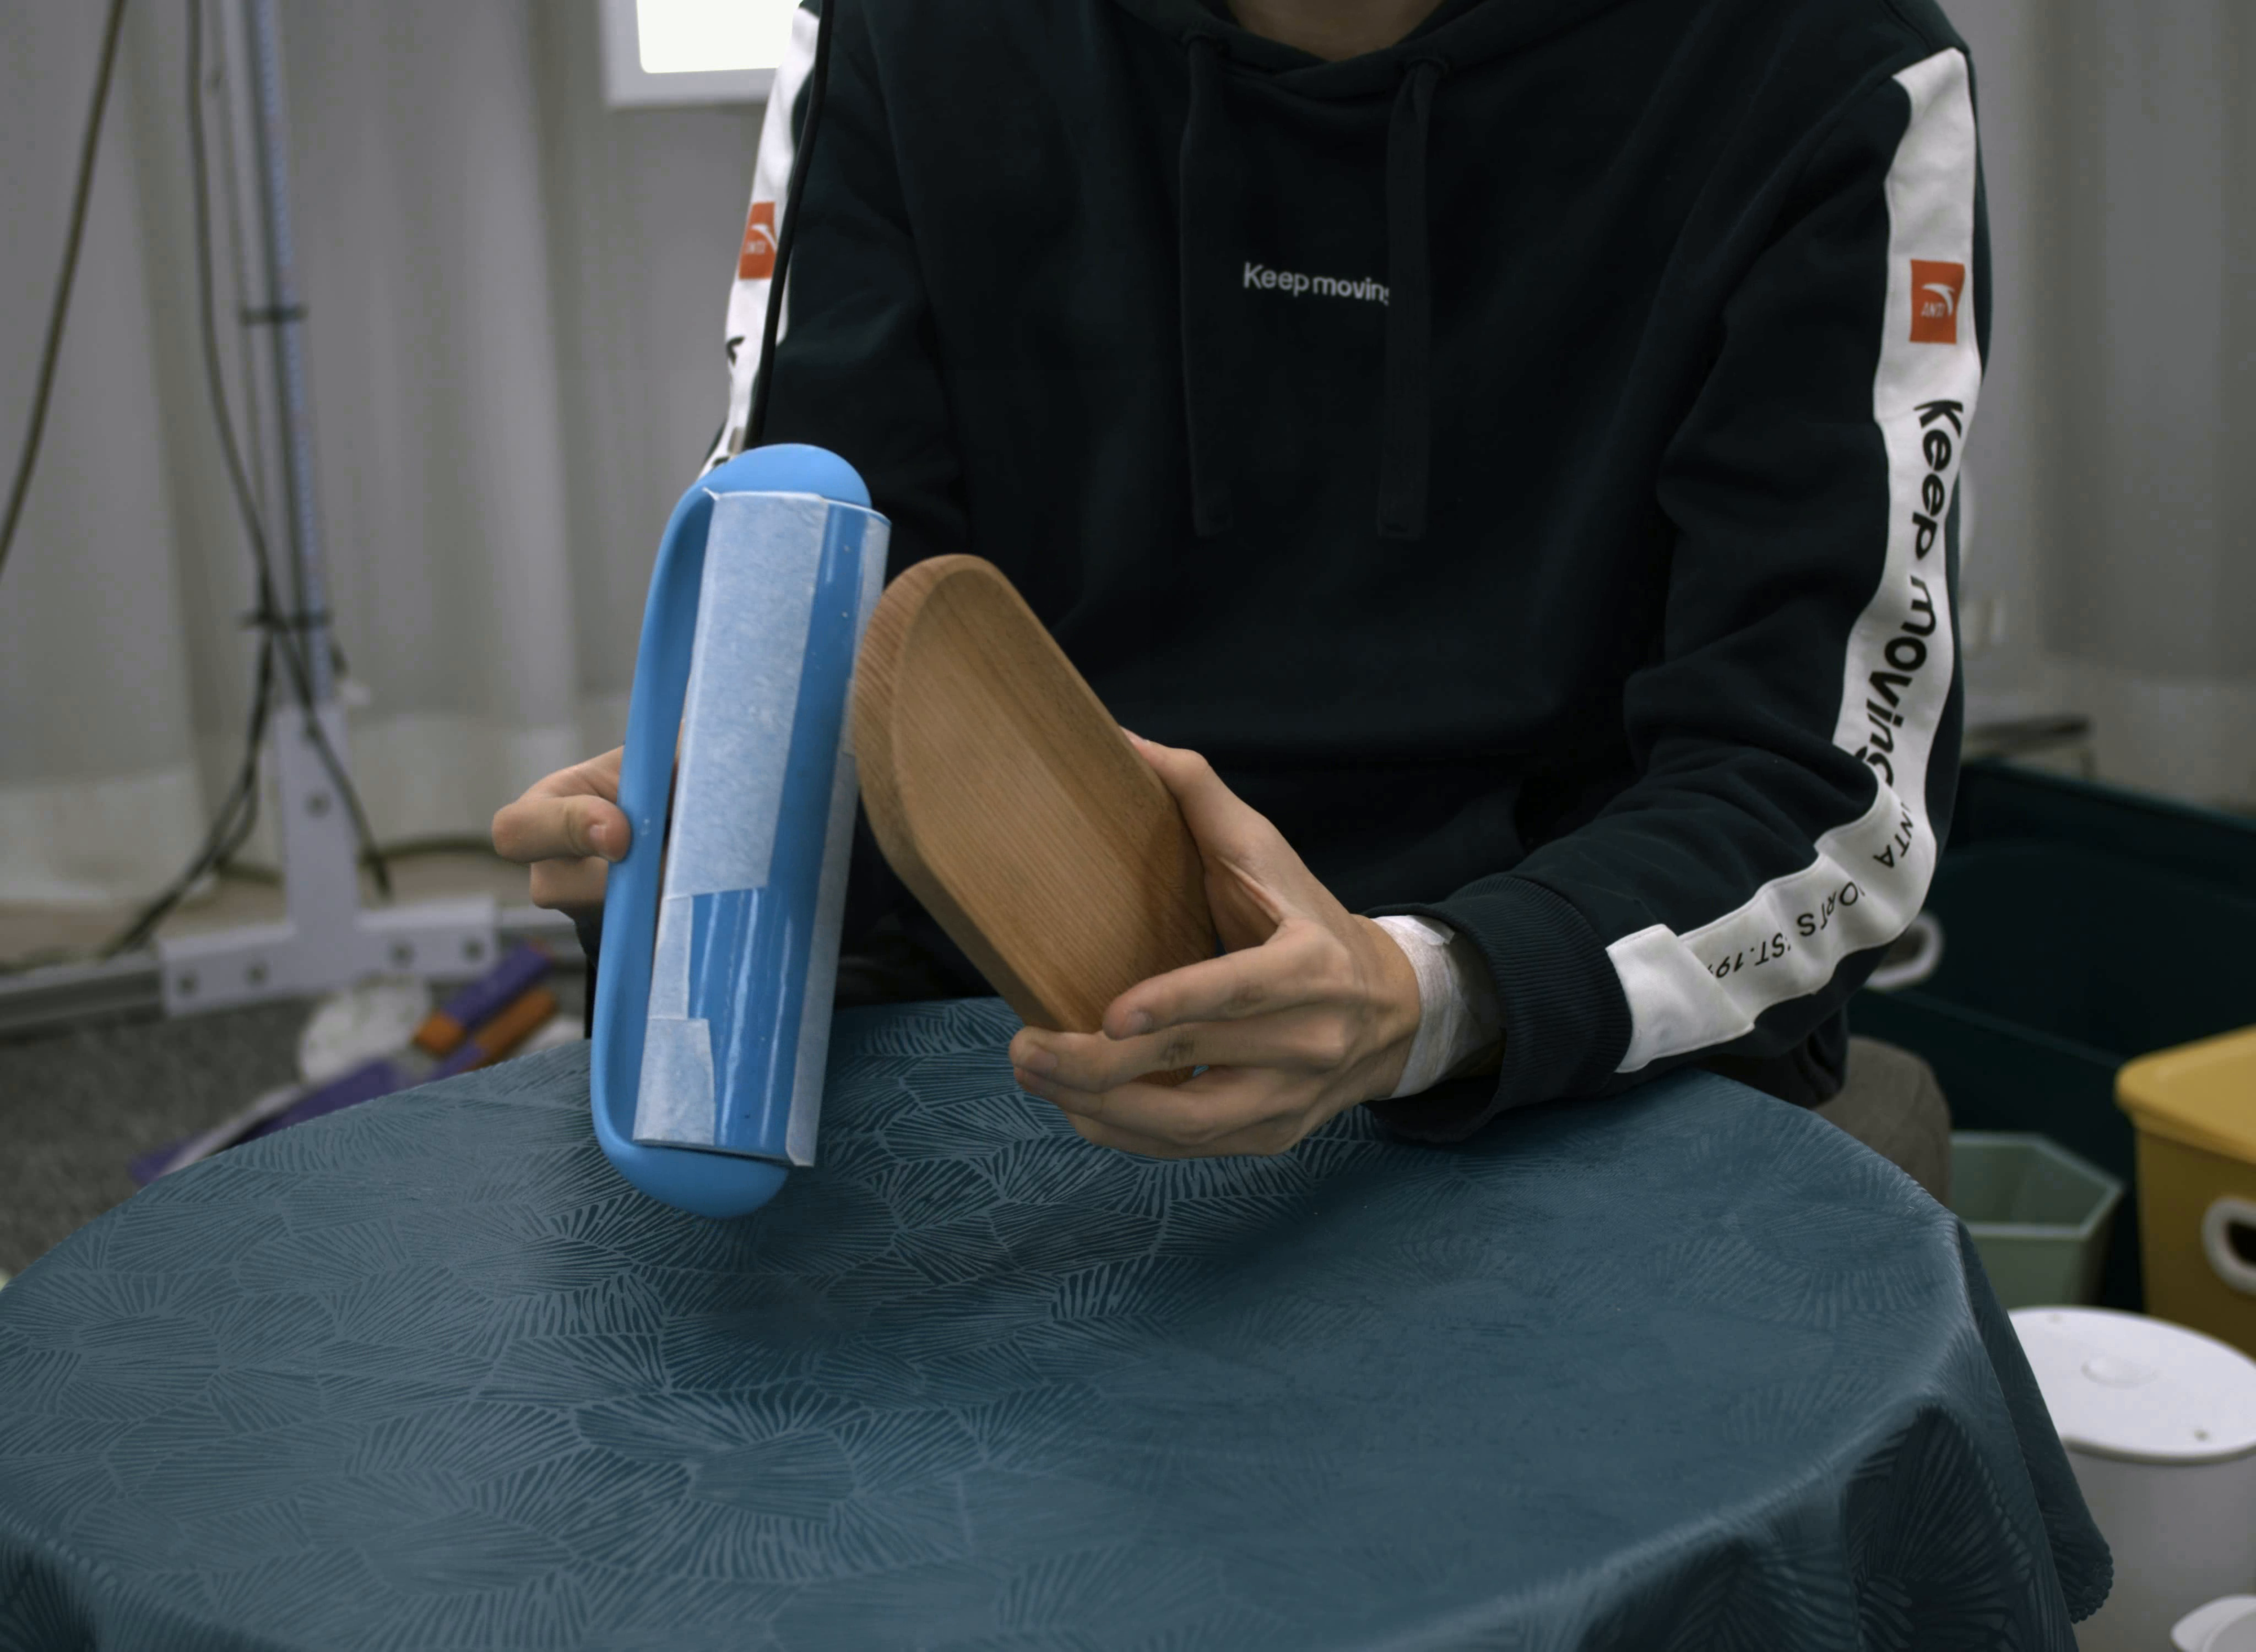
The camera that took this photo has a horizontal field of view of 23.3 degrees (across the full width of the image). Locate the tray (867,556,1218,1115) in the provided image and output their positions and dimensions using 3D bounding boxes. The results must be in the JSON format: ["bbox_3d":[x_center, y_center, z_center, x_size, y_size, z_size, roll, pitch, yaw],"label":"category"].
[{"bbox_3d":[-0.023,0.005,1.606,0.020,0.103,0.228,0,-29,24],"label":"tray"}]

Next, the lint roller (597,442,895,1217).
[{"bbox_3d":[-0.124,0.007,1.660,0.067,0.230,0.180,8,-10,-16],"label":"lint roller"}]
